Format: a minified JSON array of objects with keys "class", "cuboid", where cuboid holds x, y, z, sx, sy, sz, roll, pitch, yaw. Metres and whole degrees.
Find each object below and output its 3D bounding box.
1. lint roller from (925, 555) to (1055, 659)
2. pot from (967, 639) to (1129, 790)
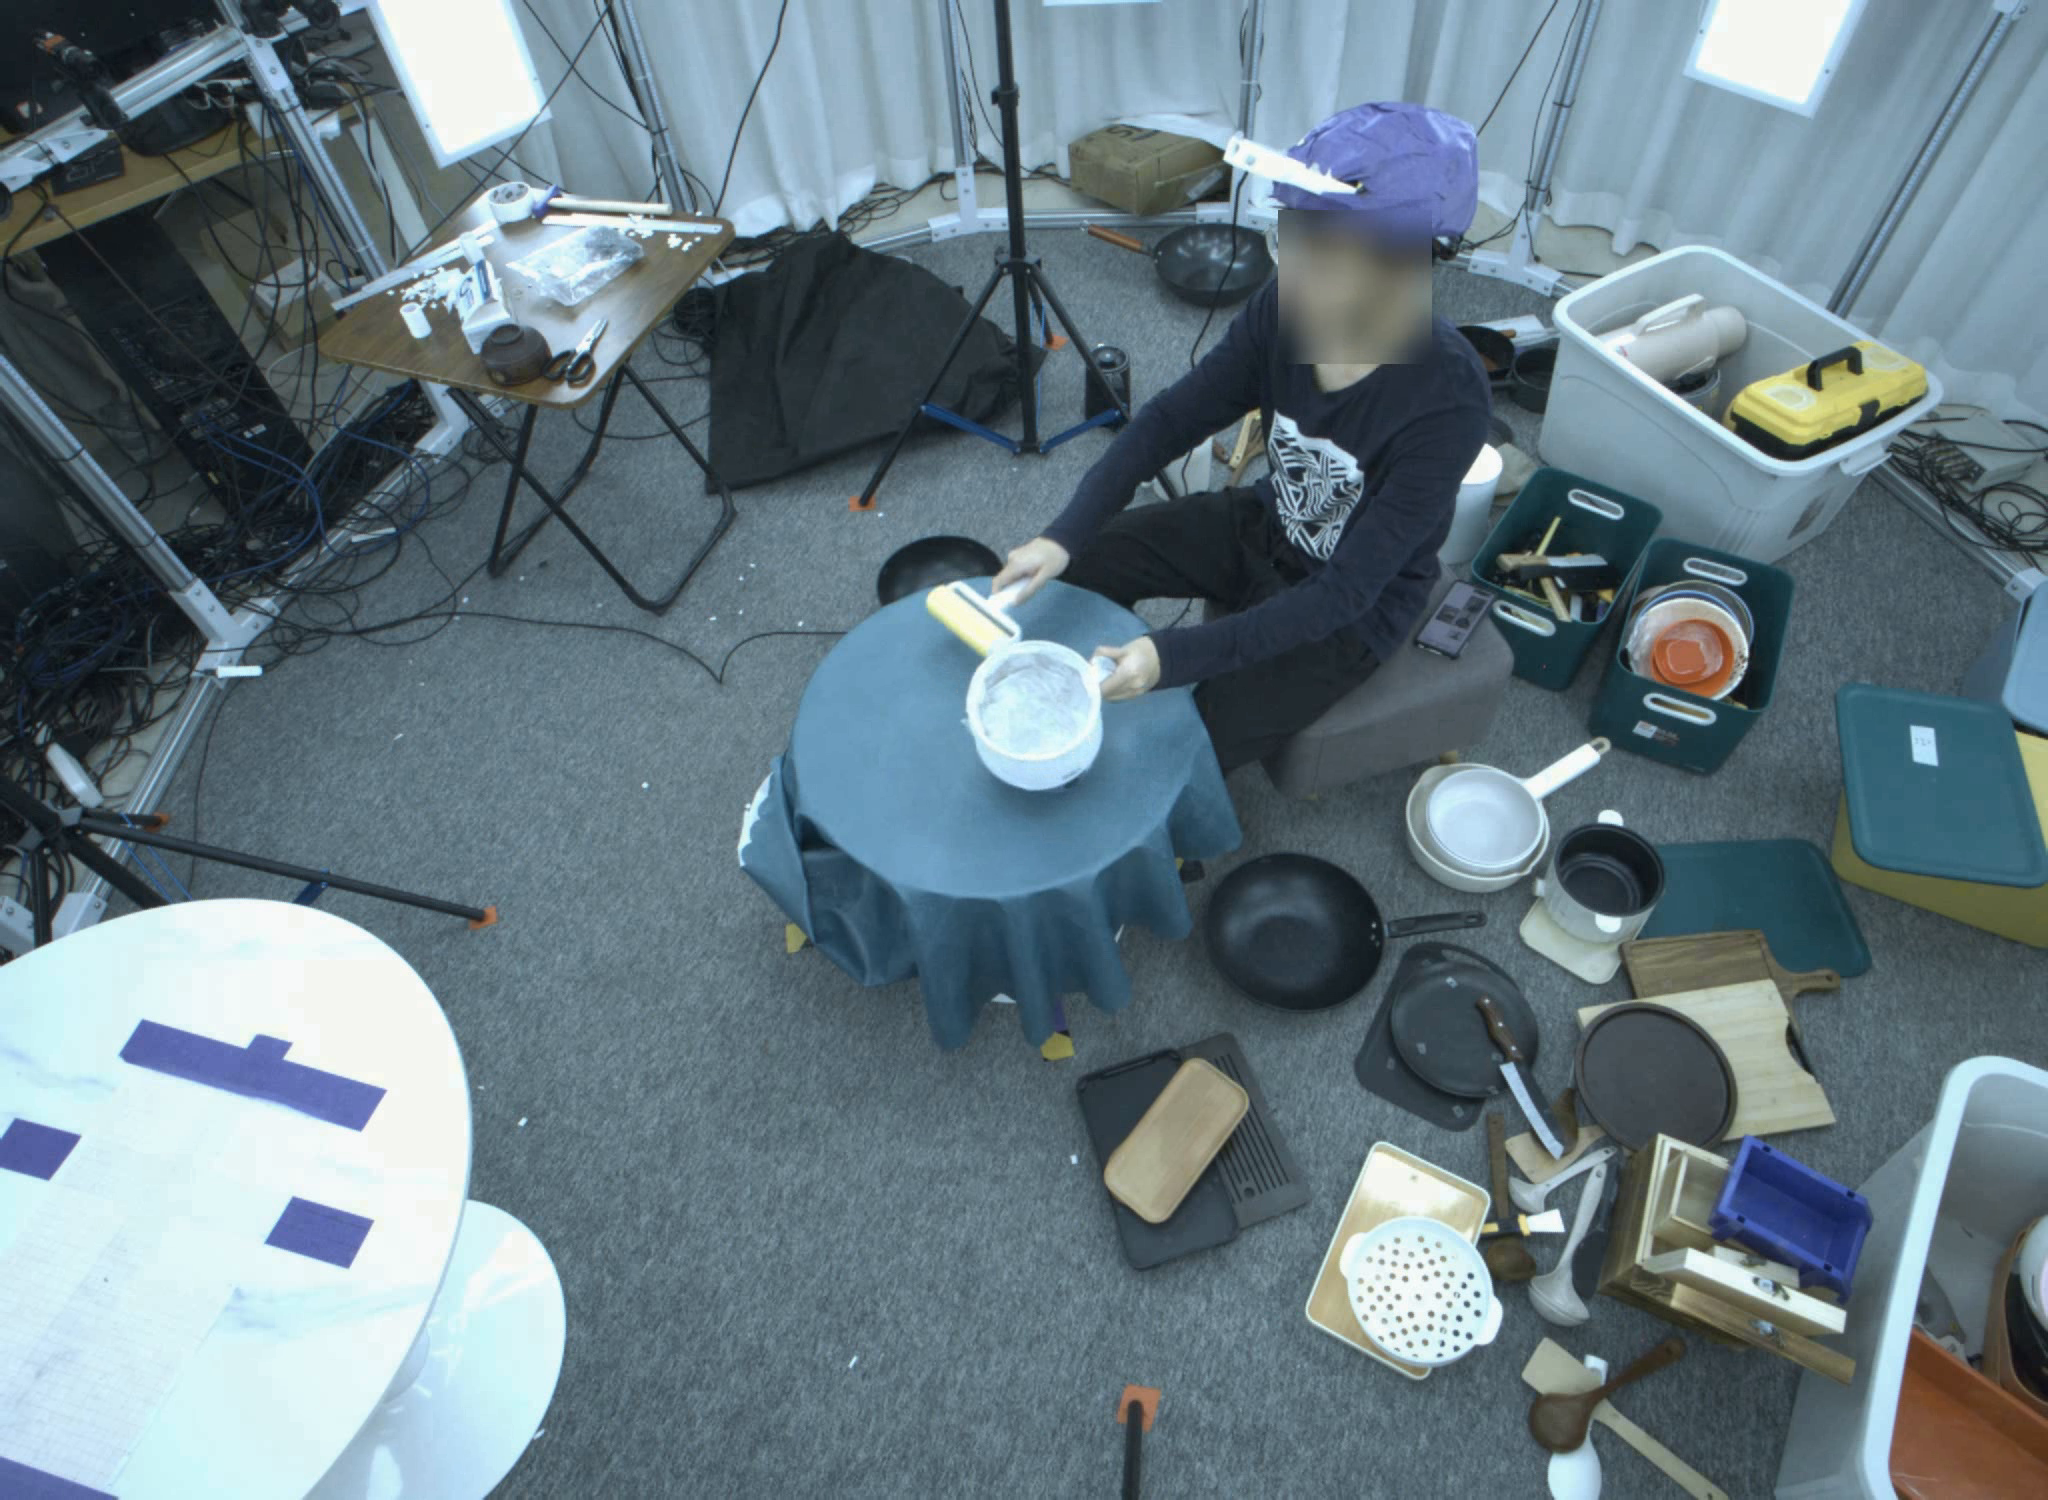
[{"class":"lint roller","cuboid":[-0.031,-0.239,1.846,0.192,0.052,0.170,-45,55,-9]},{"class":"pot","cuboid":[0.040,-0.058,1.683,0.235,0.138,0.176,-33,71,-10]}]
